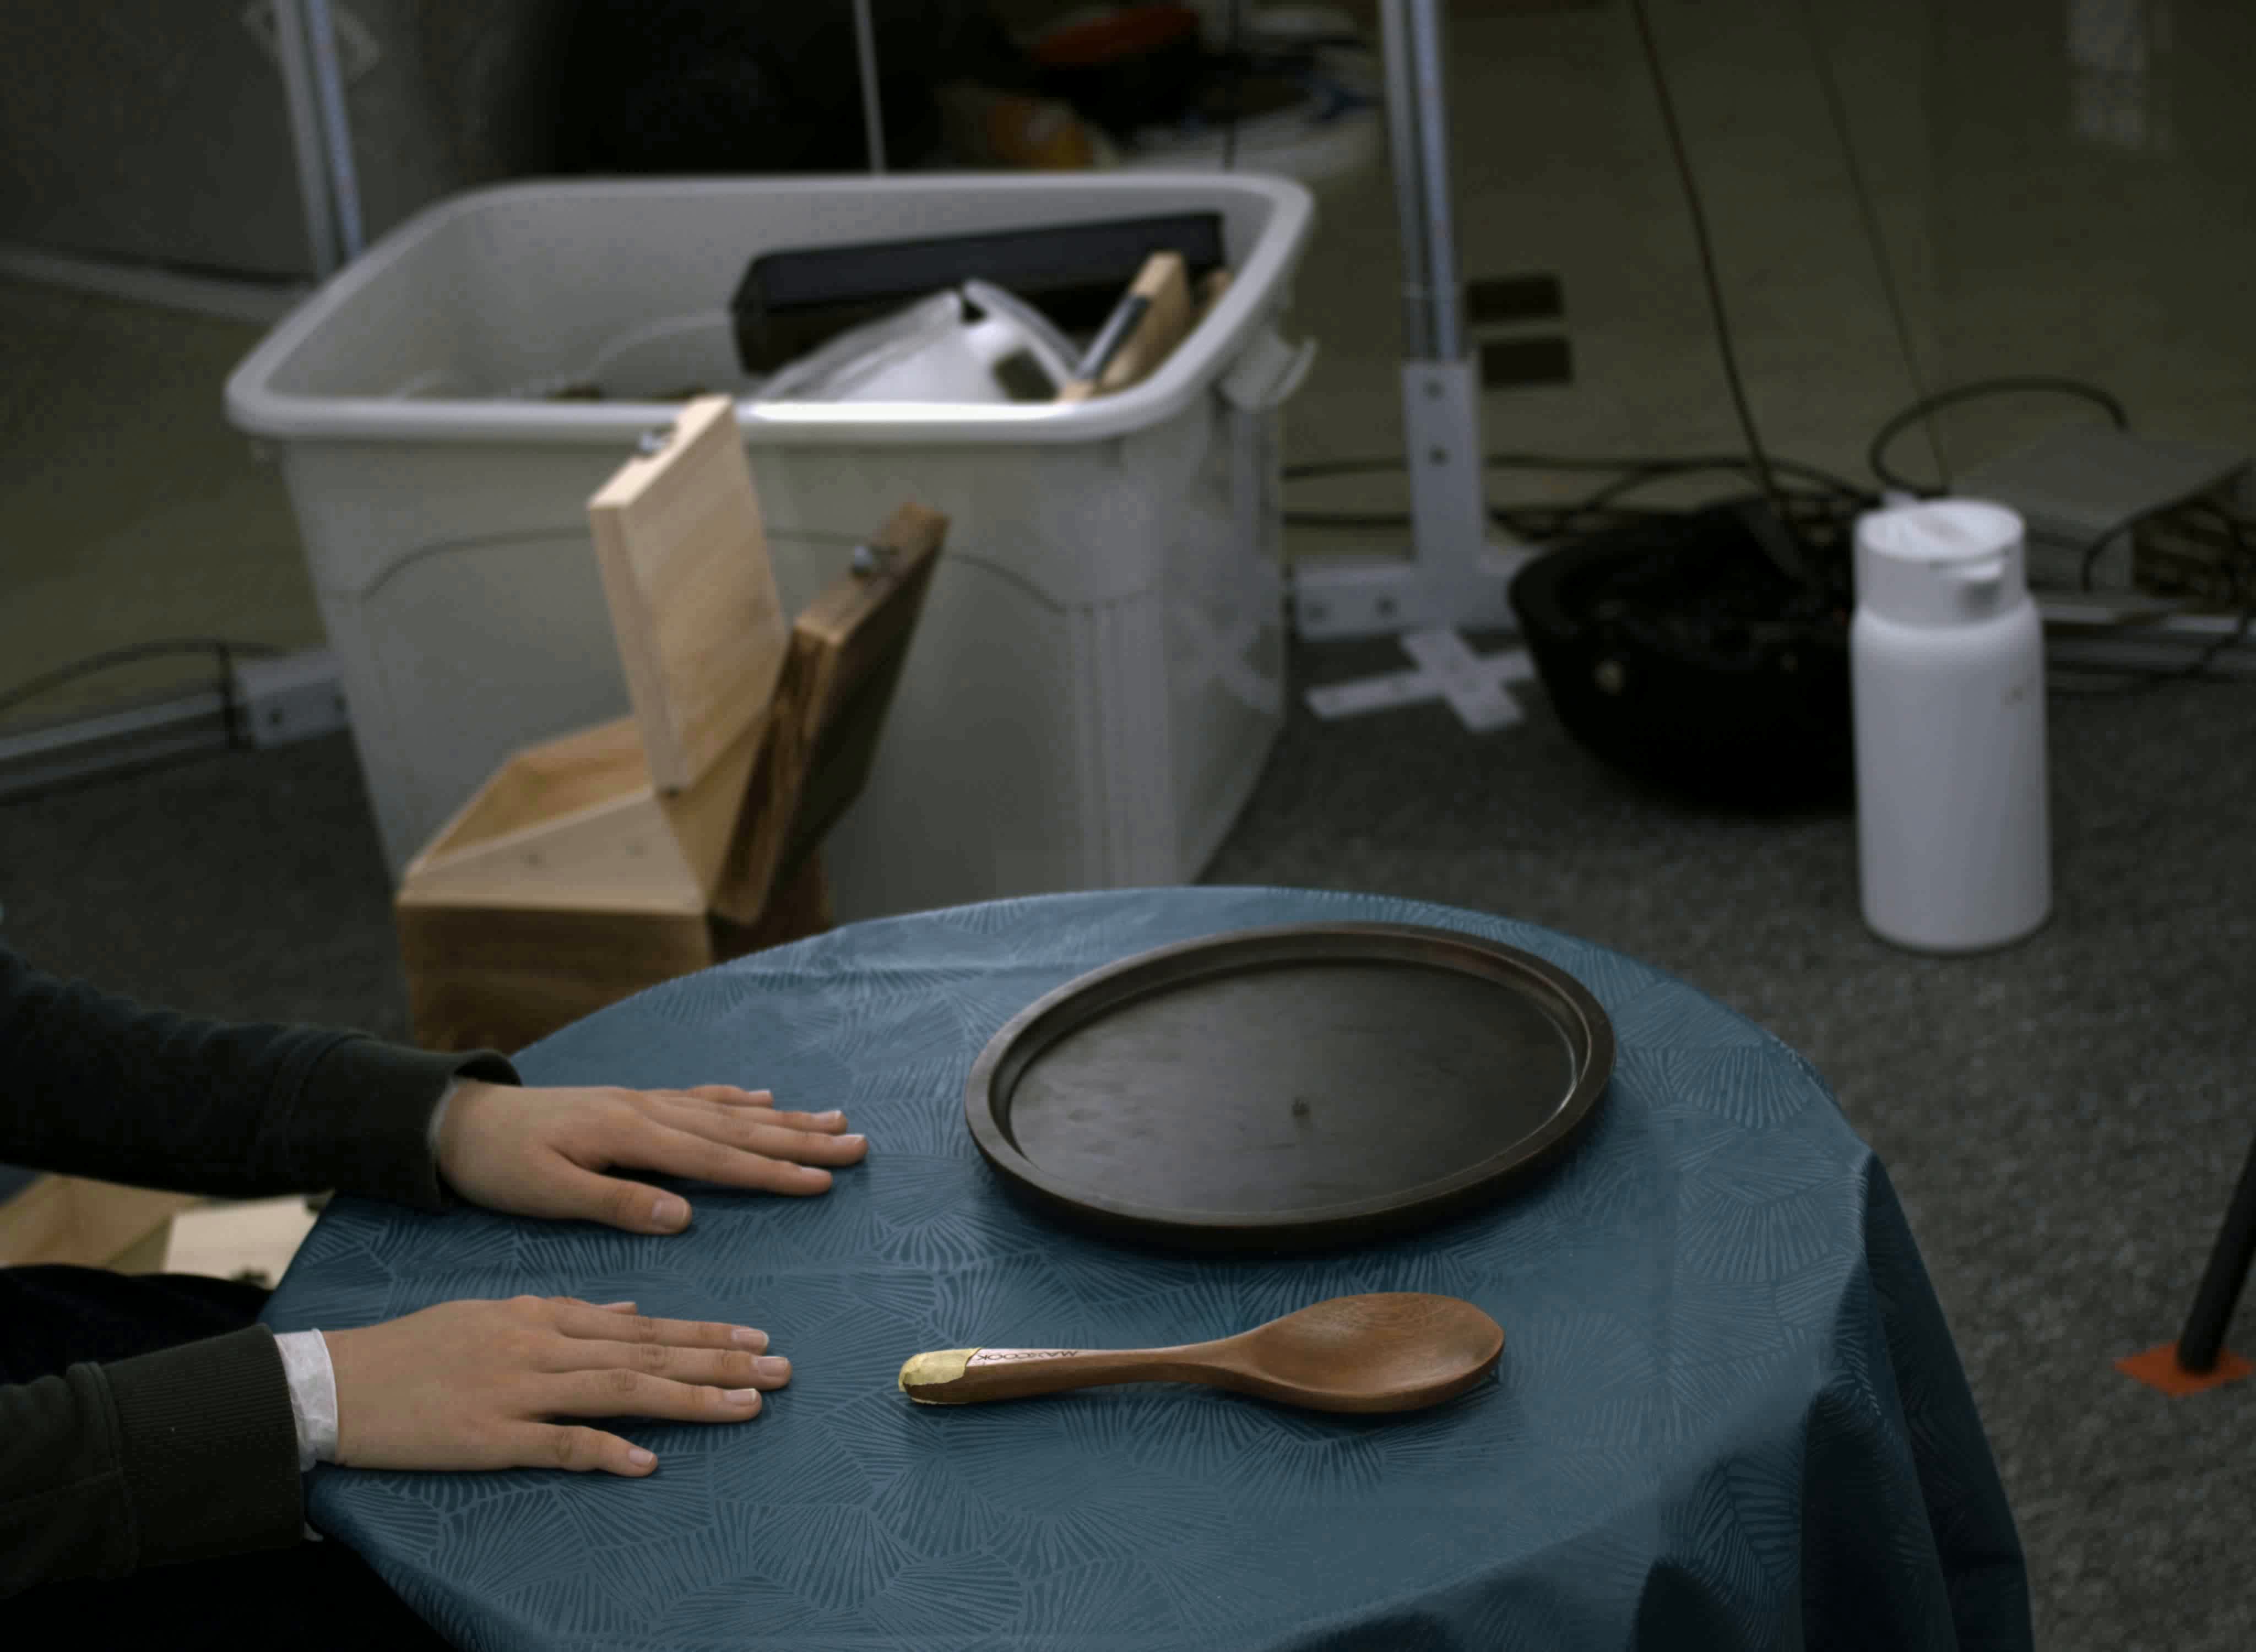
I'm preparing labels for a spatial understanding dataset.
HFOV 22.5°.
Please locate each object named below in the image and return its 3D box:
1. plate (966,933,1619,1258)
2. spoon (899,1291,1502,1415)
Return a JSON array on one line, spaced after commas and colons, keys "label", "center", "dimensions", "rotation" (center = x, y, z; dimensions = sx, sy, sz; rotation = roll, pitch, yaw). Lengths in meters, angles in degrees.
[{"label": "plate", "center": [0.063, 0.102, 2.190], "dimensions": [0.254, 0.029, 0.251], "rotation": [-4, 24, 2]}, {"label": "spoon", "center": [0.025, 0.191, 2.013], "dimensions": [0.215, 0.017, 0.074], "rotation": [-3, 25, 8]}]
